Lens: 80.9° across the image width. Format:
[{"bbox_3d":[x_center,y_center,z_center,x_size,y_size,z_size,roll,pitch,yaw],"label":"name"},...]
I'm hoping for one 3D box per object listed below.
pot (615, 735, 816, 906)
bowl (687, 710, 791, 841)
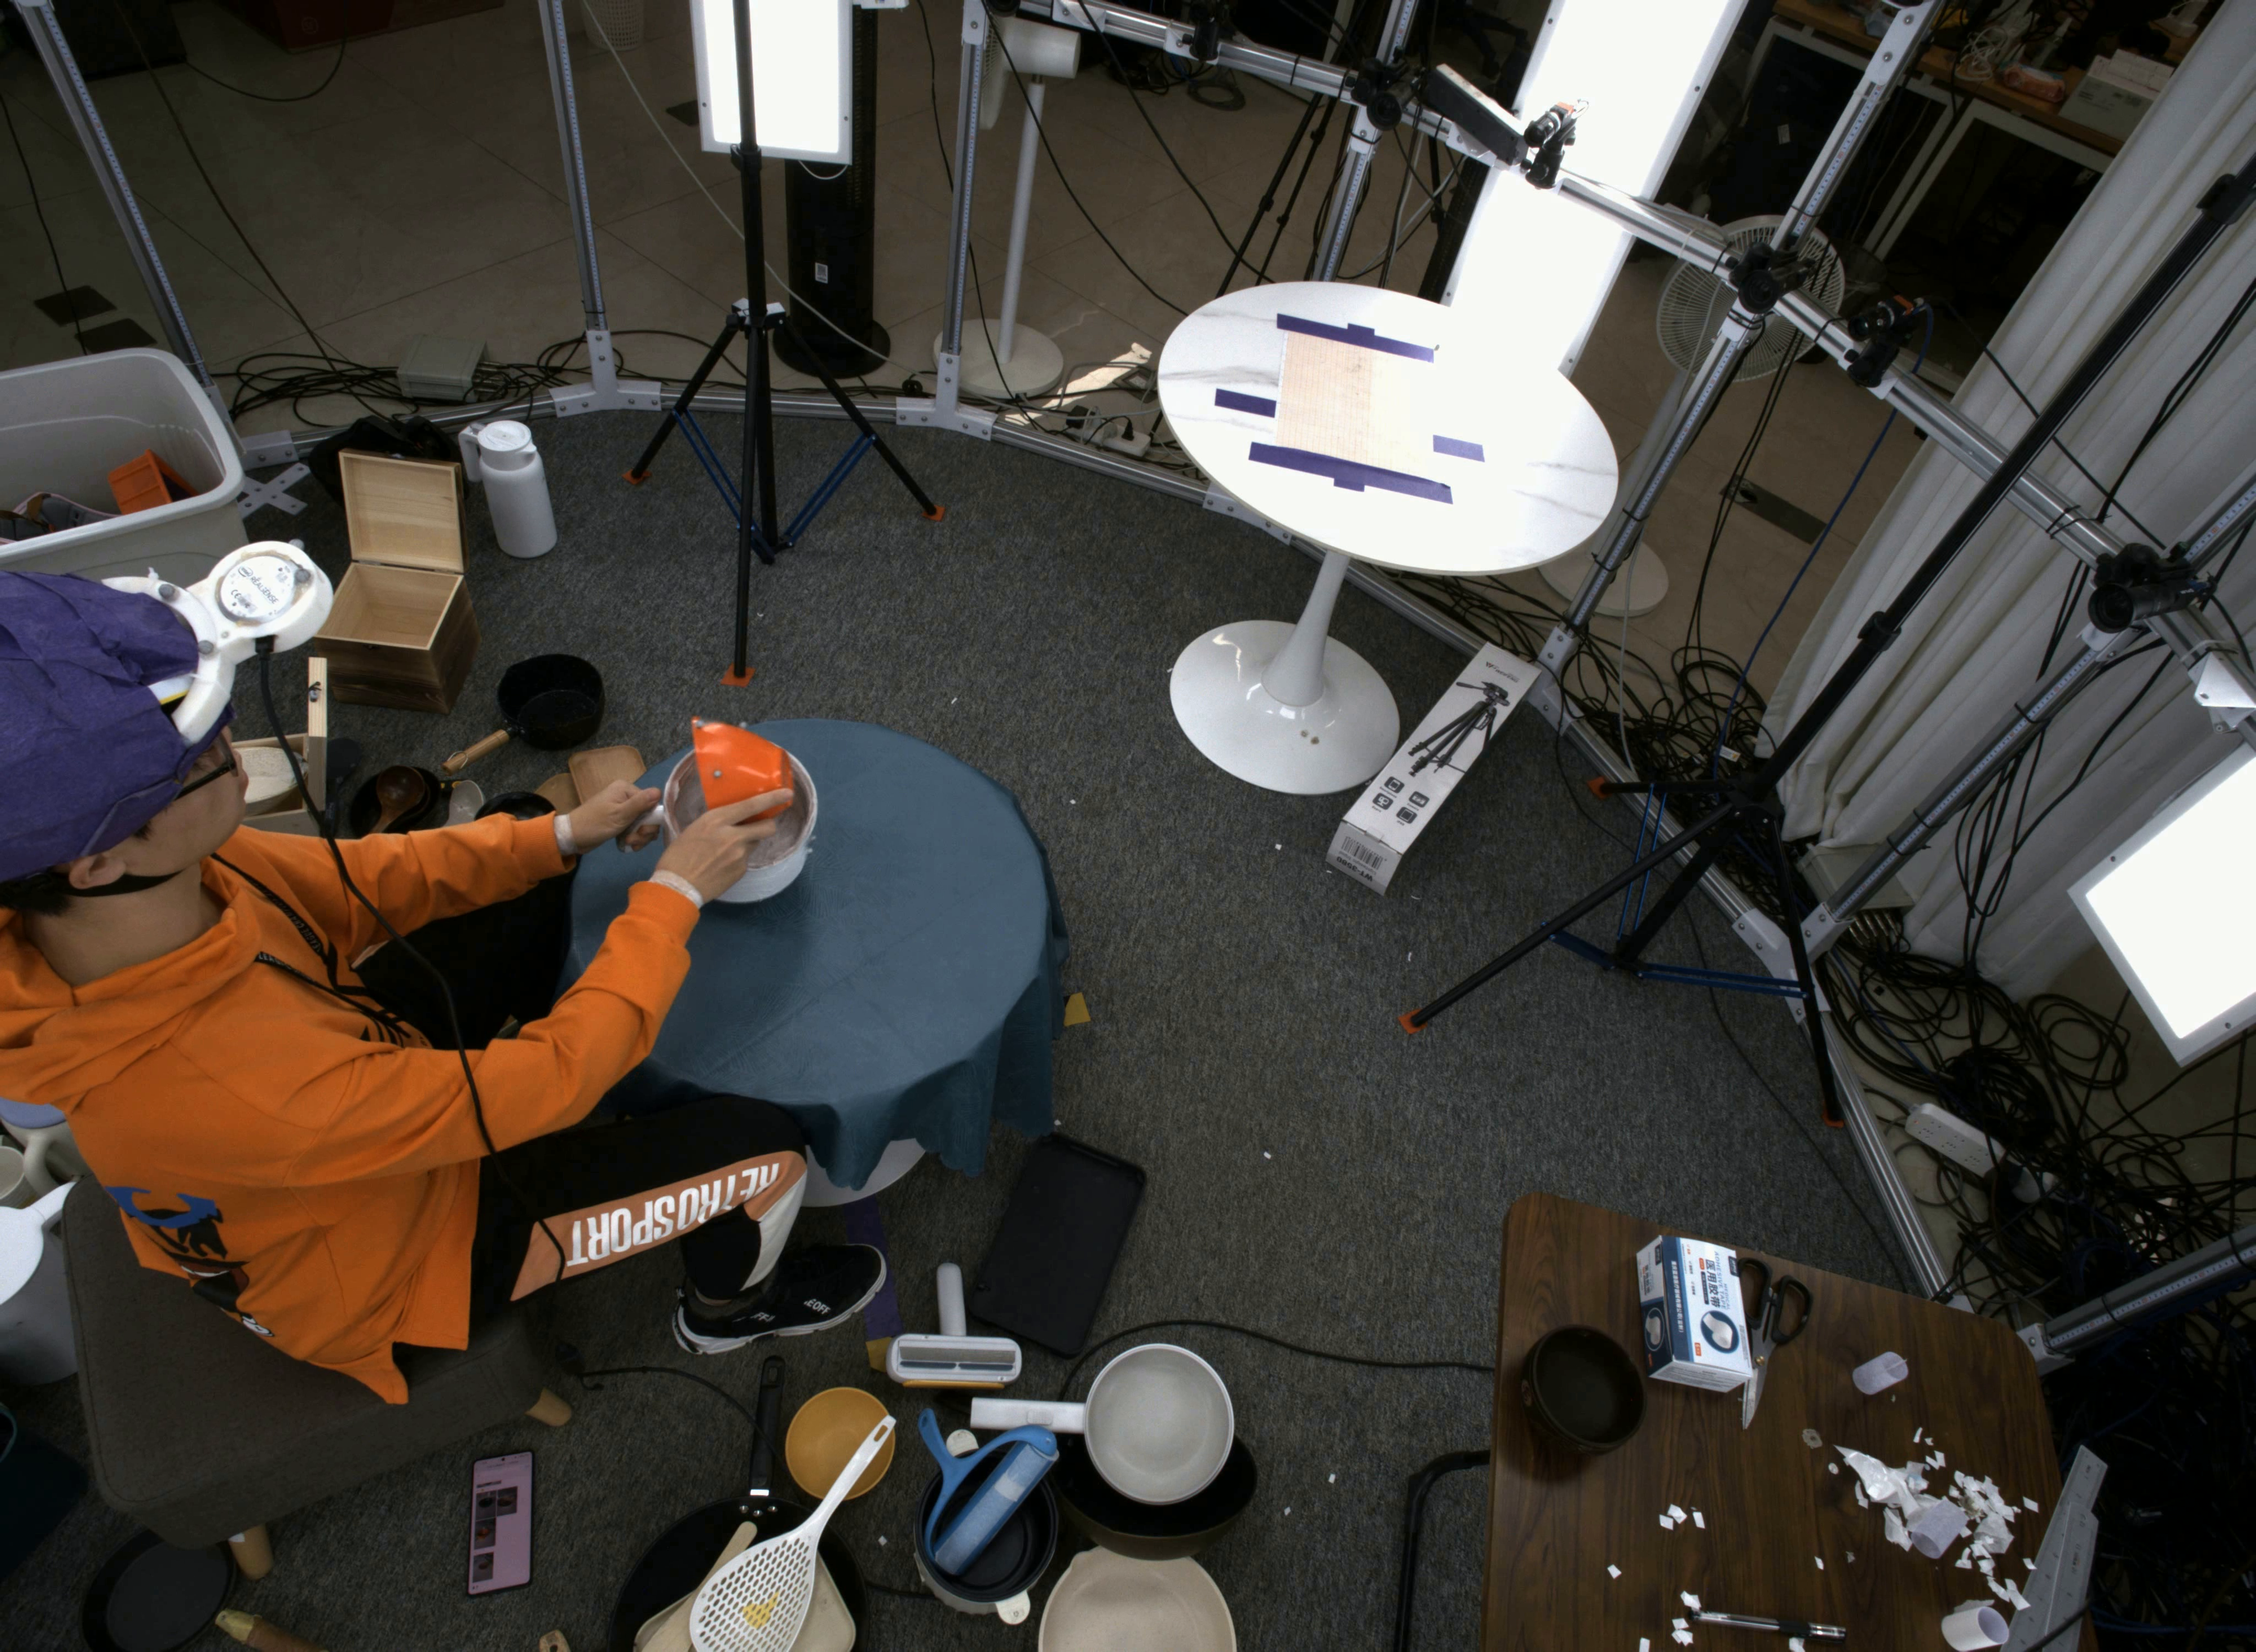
[{"bbox_3d":[-0.497,-0.004,1.546,0.235,0.137,0.176,-2,66,-22],"label":"pot"},{"bbox_3d":[-0.439,-0.063,1.460,0.104,0.152,0.144,-8,54,-6],"label":"bowl"}]
